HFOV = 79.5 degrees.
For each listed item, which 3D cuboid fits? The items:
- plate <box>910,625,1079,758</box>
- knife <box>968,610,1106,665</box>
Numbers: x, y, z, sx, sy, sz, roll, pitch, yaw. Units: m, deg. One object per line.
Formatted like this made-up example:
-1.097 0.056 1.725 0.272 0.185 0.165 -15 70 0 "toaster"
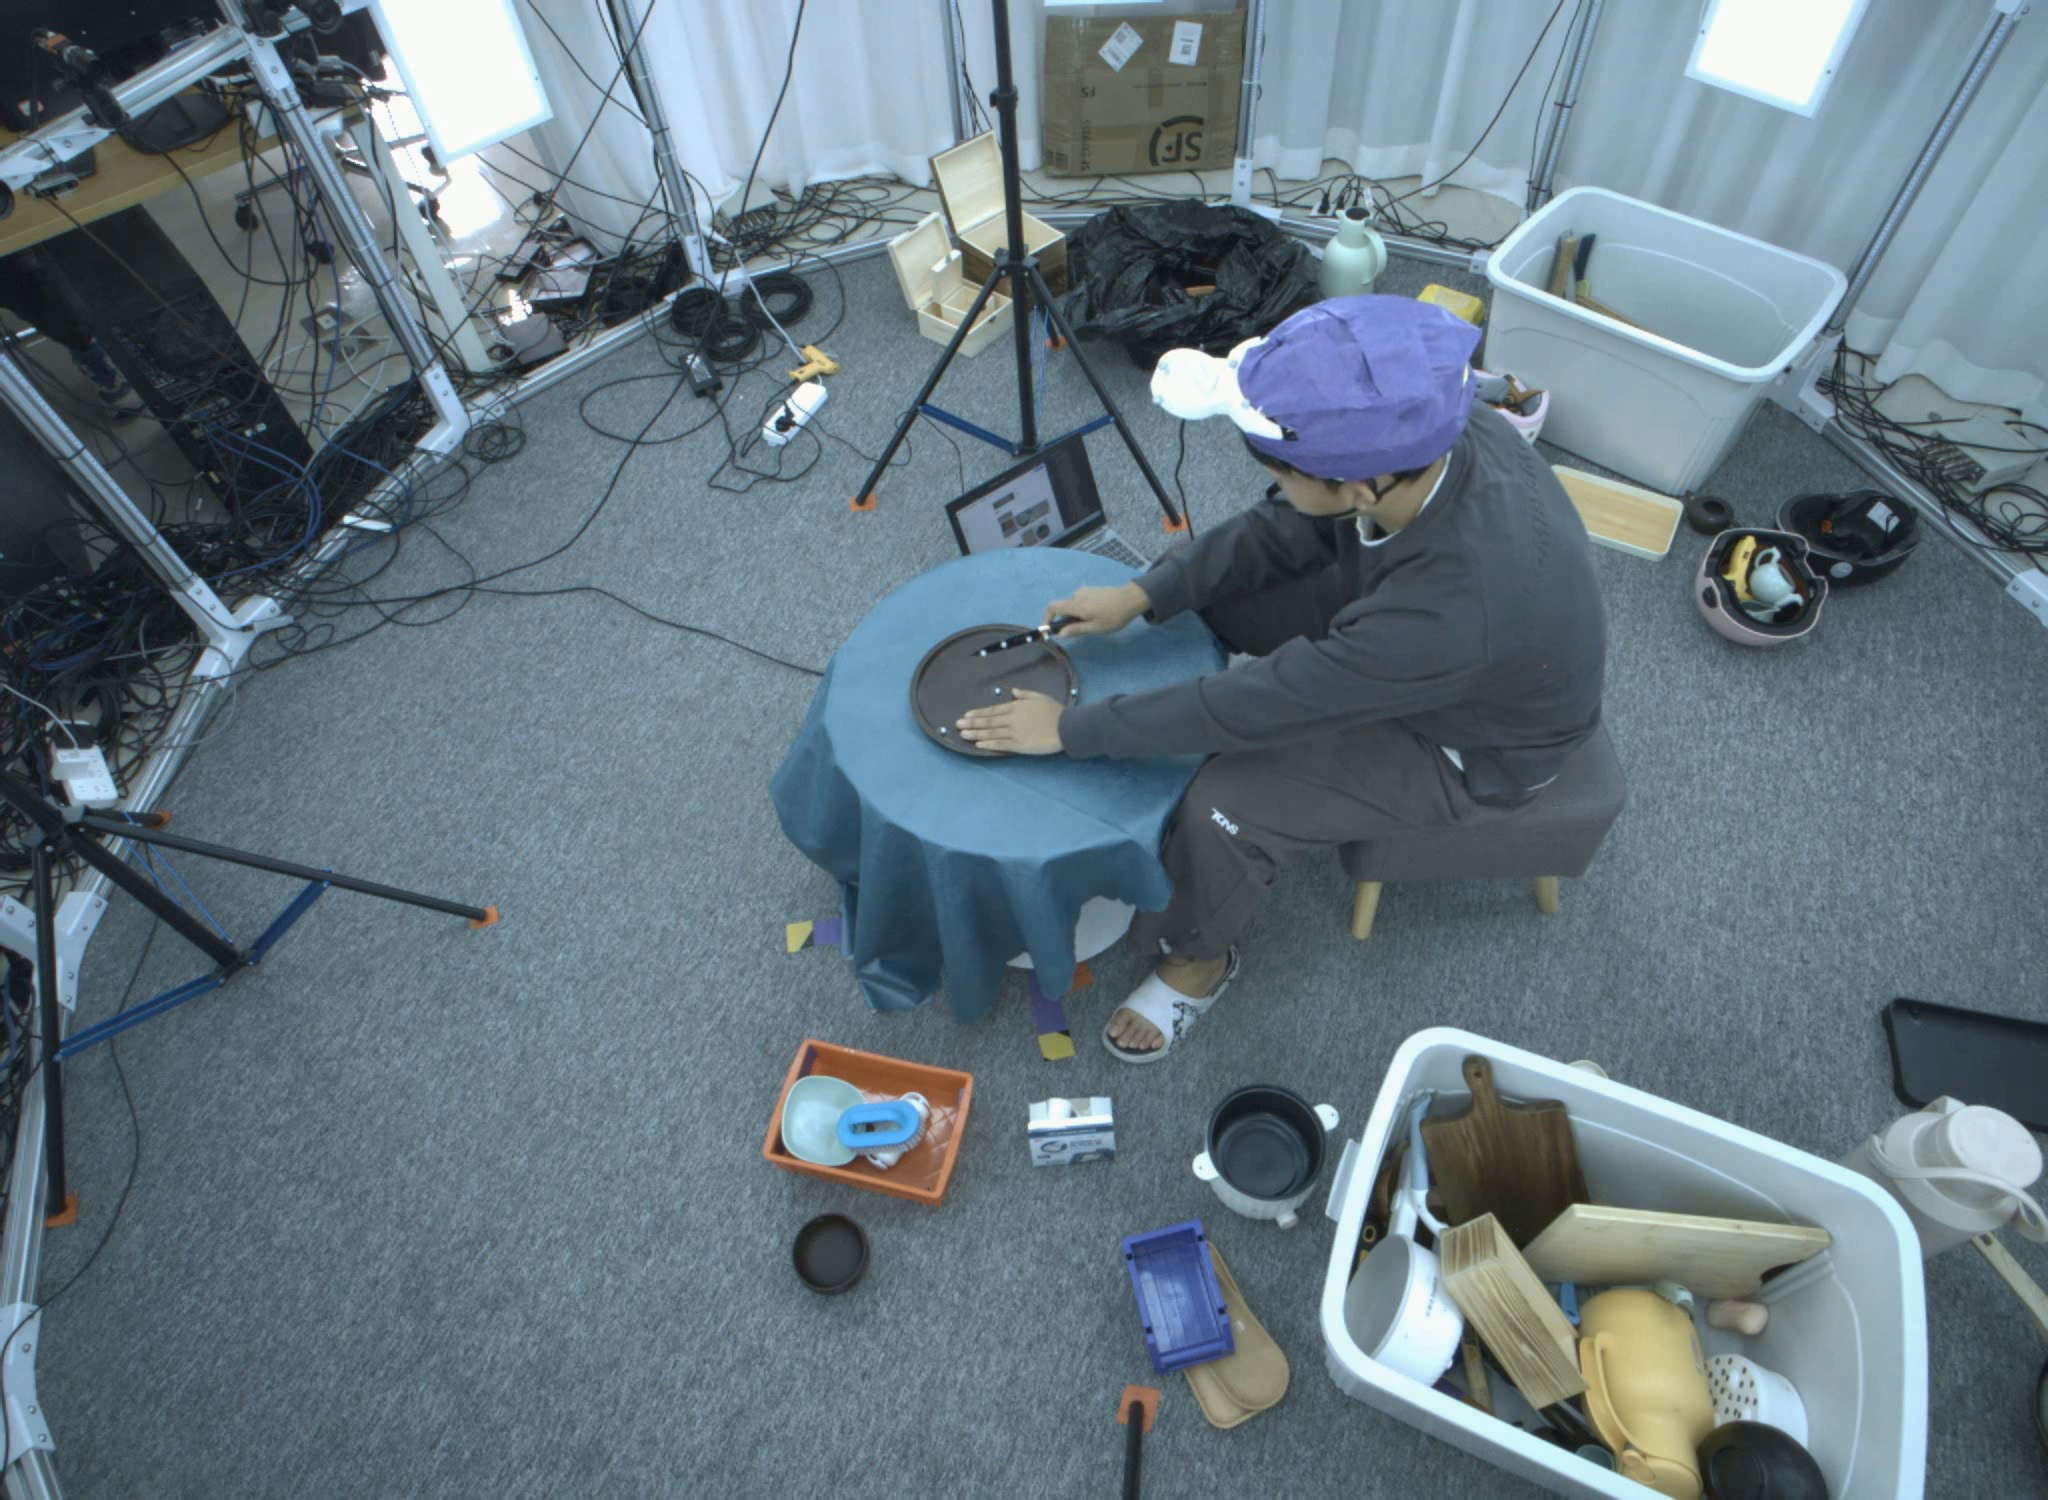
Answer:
-0.045 -0.089 1.838 0.255 0.029 0.252 1 54 0 "plate"
0.019 -0.170 1.852 0.227 0.026 0.017 -20 51 -13 "knife"
